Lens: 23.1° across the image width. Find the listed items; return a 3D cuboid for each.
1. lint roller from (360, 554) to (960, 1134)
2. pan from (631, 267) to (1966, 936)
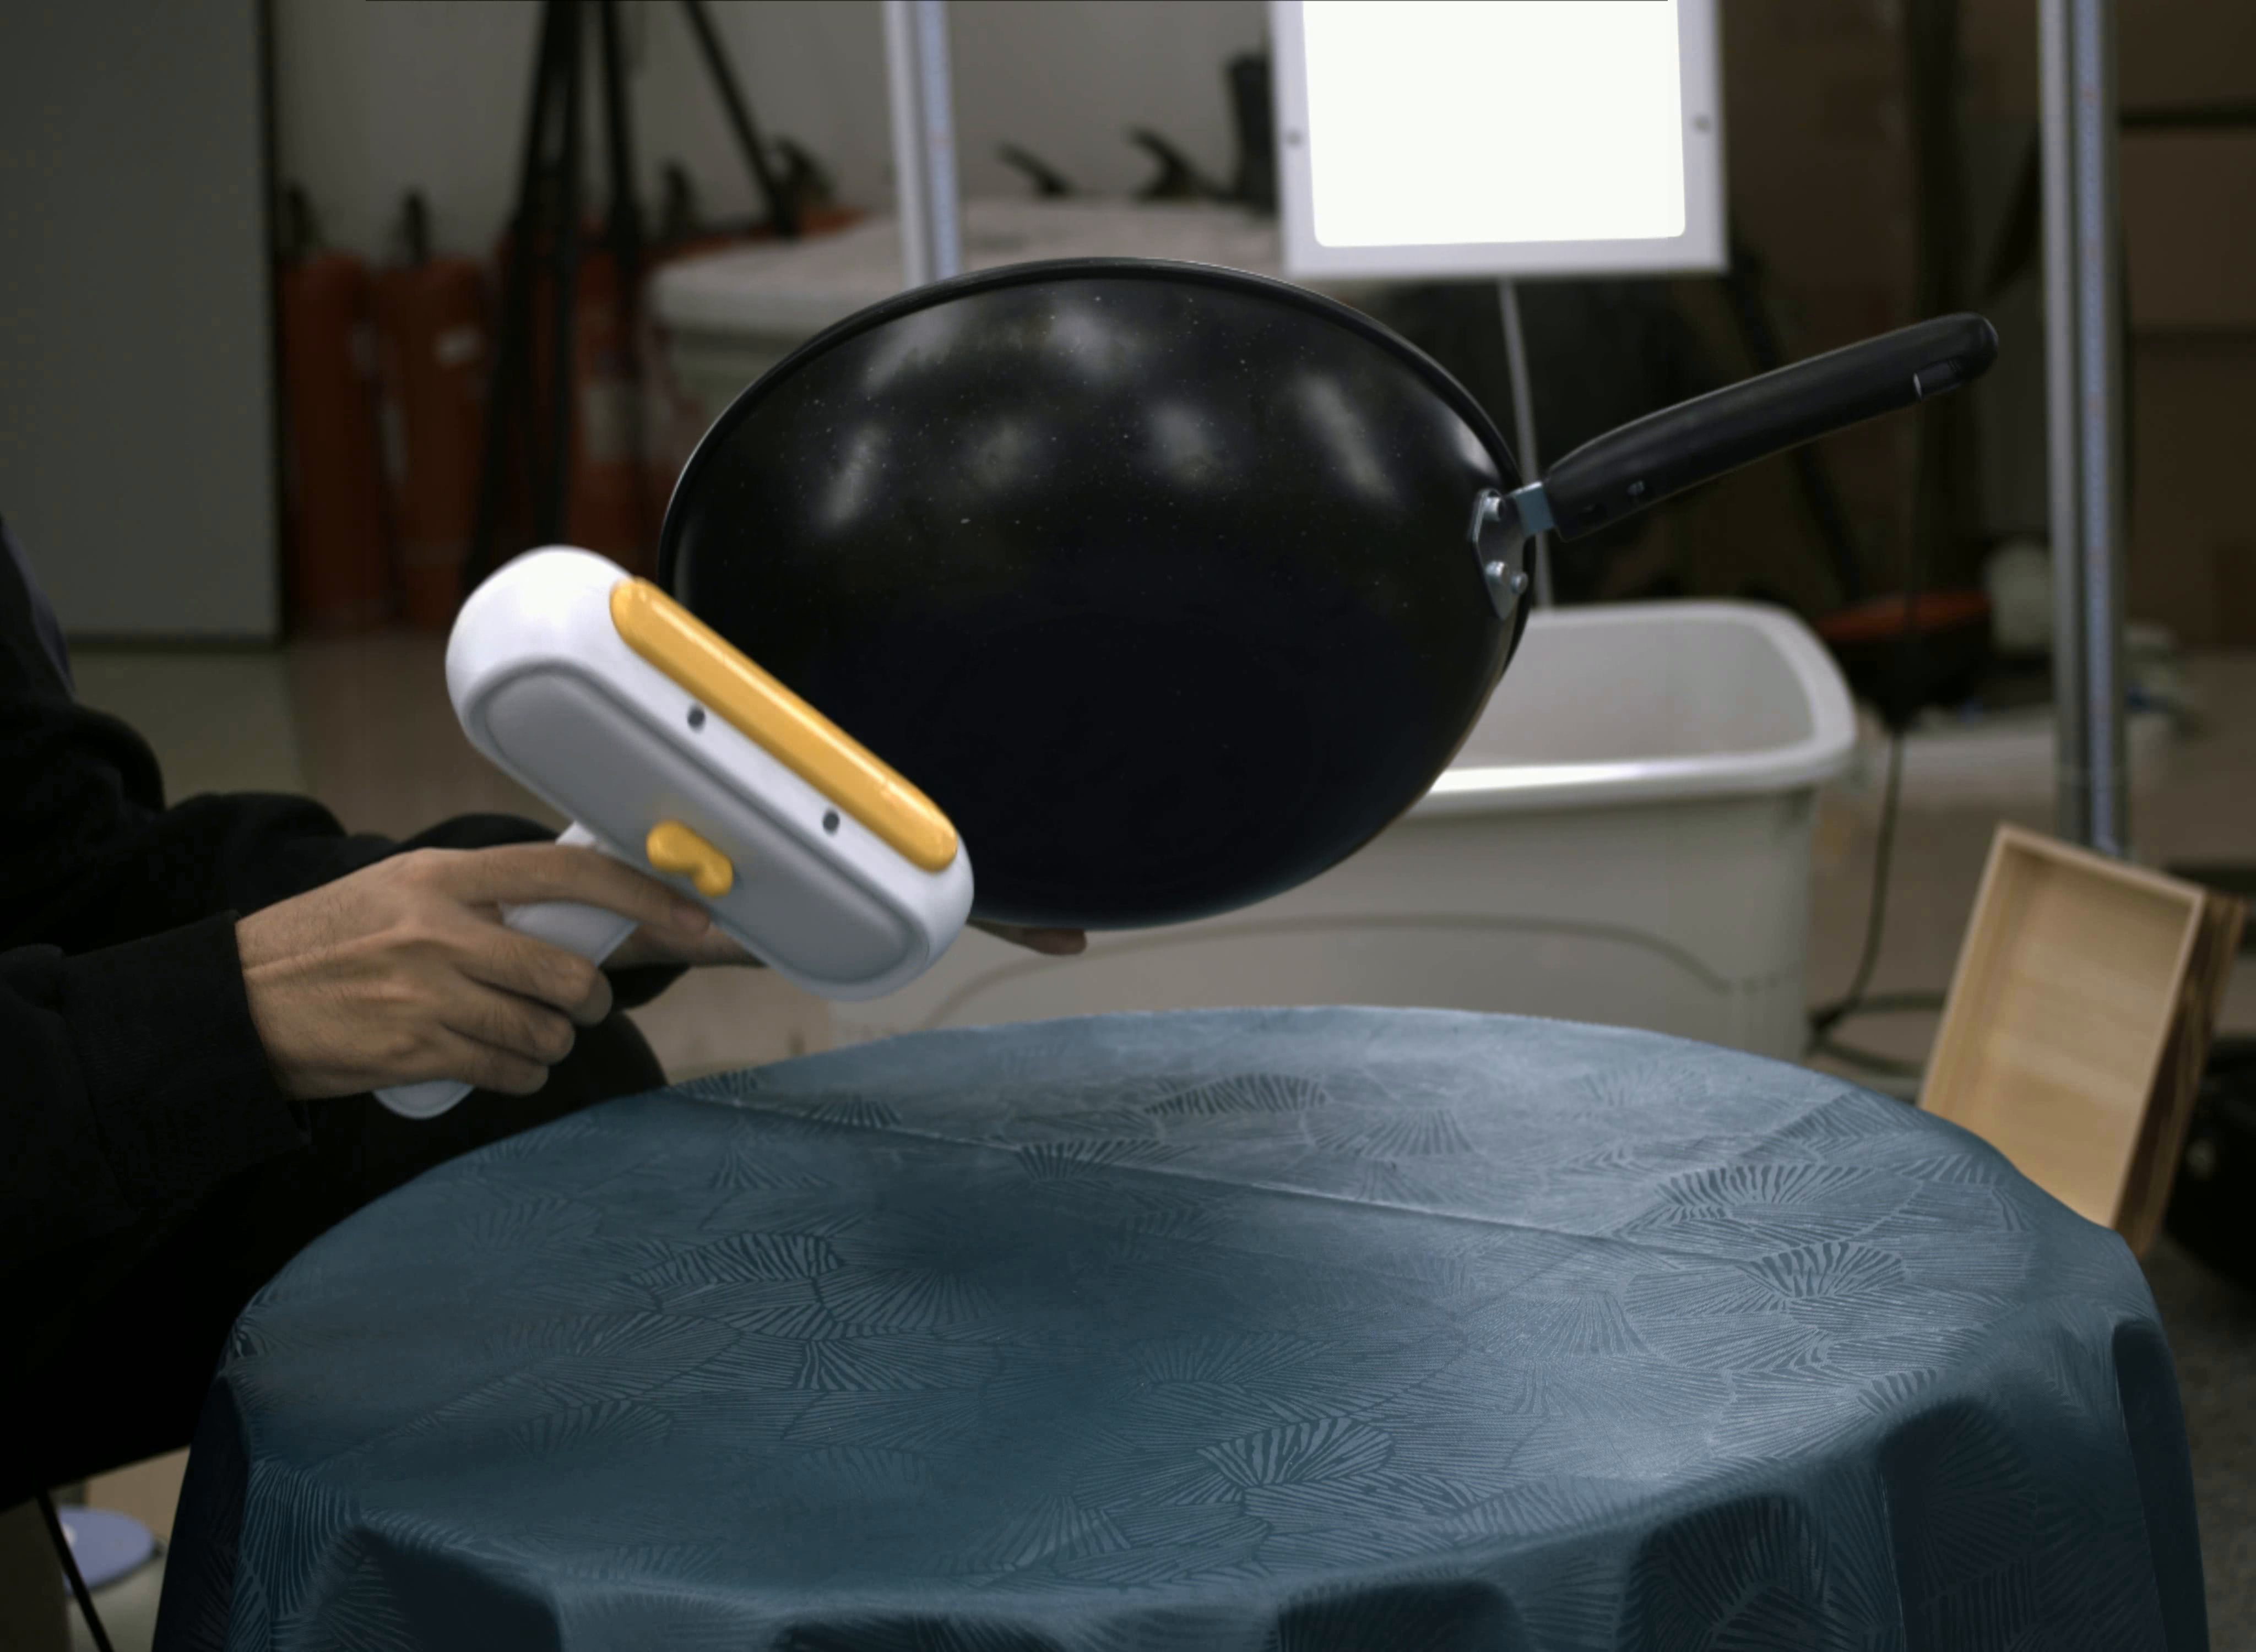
[{"bbox_3d":[-0.174,0.023,1.735,0.196,0.189,0.074,-40,34,30],"label":"lint roller"},{"bbox_3d":[0.063,-0.080,1.887,0.480,0.308,0.111,-12,49,11],"label":"pan"}]
